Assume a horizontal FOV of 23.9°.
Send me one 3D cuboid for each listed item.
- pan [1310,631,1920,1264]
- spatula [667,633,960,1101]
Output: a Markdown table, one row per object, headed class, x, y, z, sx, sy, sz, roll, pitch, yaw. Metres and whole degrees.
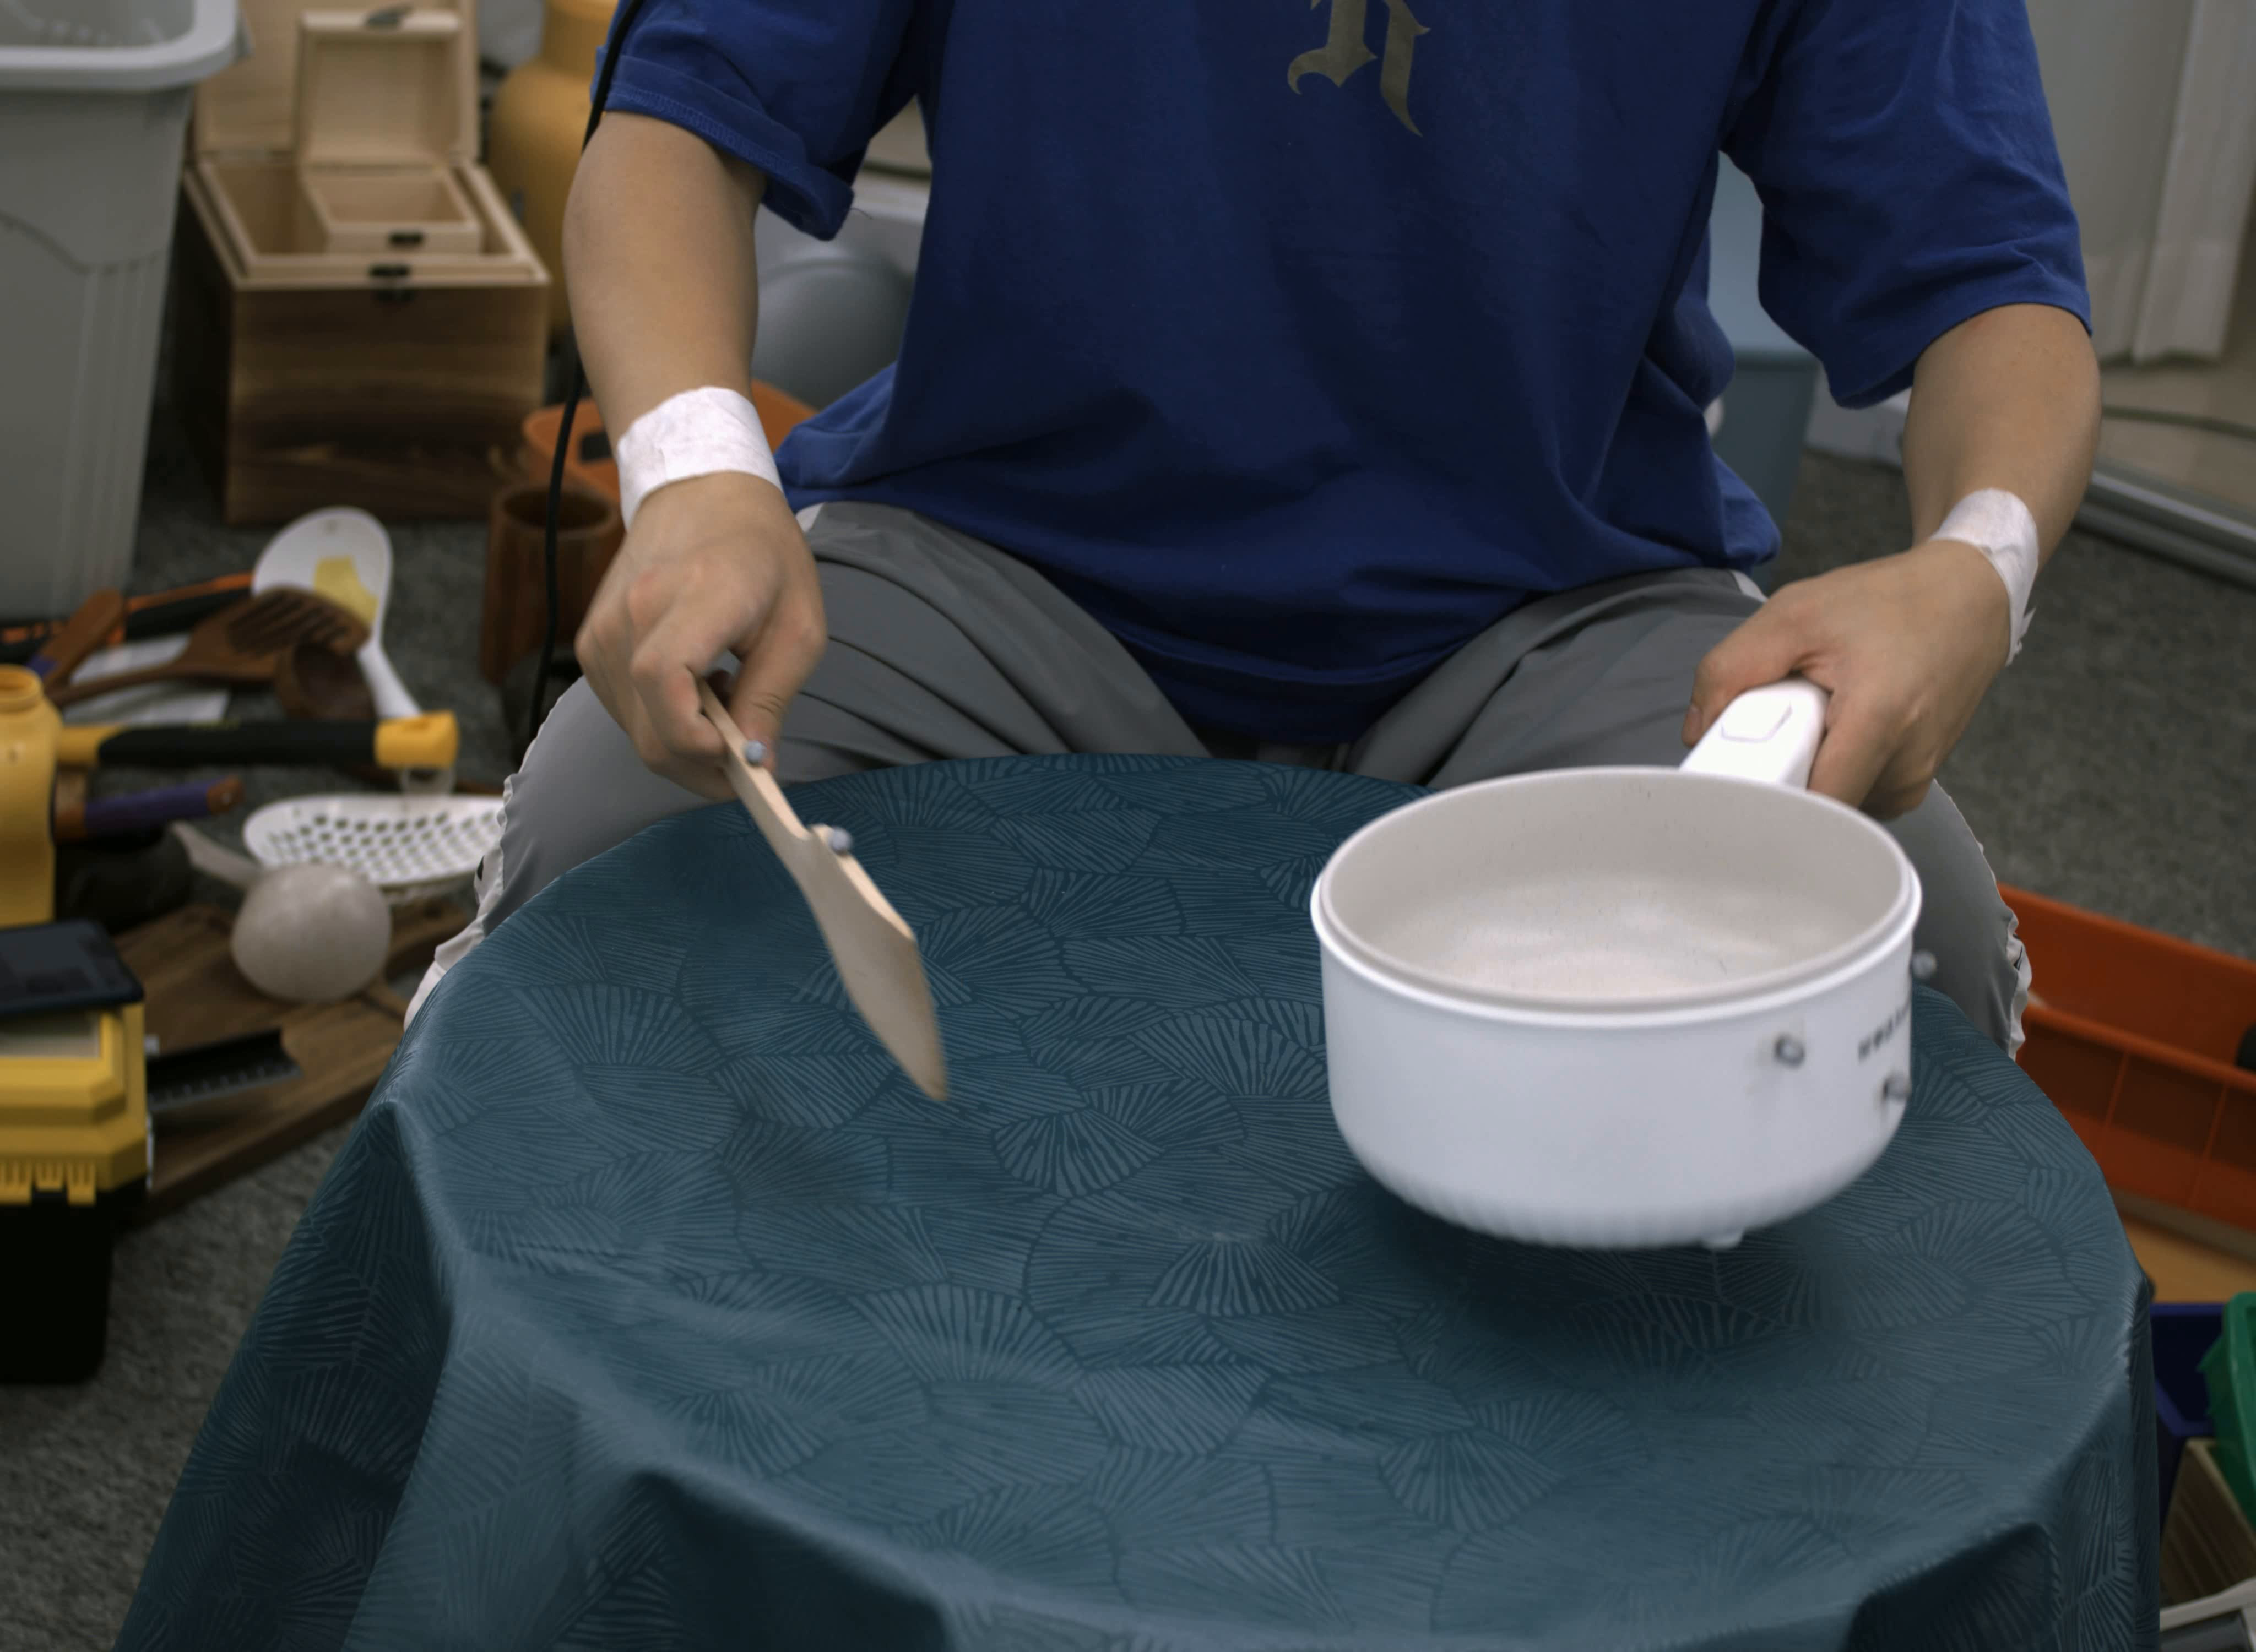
| class | x | y | z | sx | sy | sz | roll | pitch | yaw |
| --- | --- | --- | --- | --- | --- | --- | --- | --- | --- |
| pan | 0.193 | 0.039 | 1.837 | 0.202 | 0.102 | 0.355 | 4 | 24 | 23 |
| spatula | -0.117 | 0.000 | 1.857 | 0.010 | 0.072 | 0.295 | -22 | 32 | -11 |
